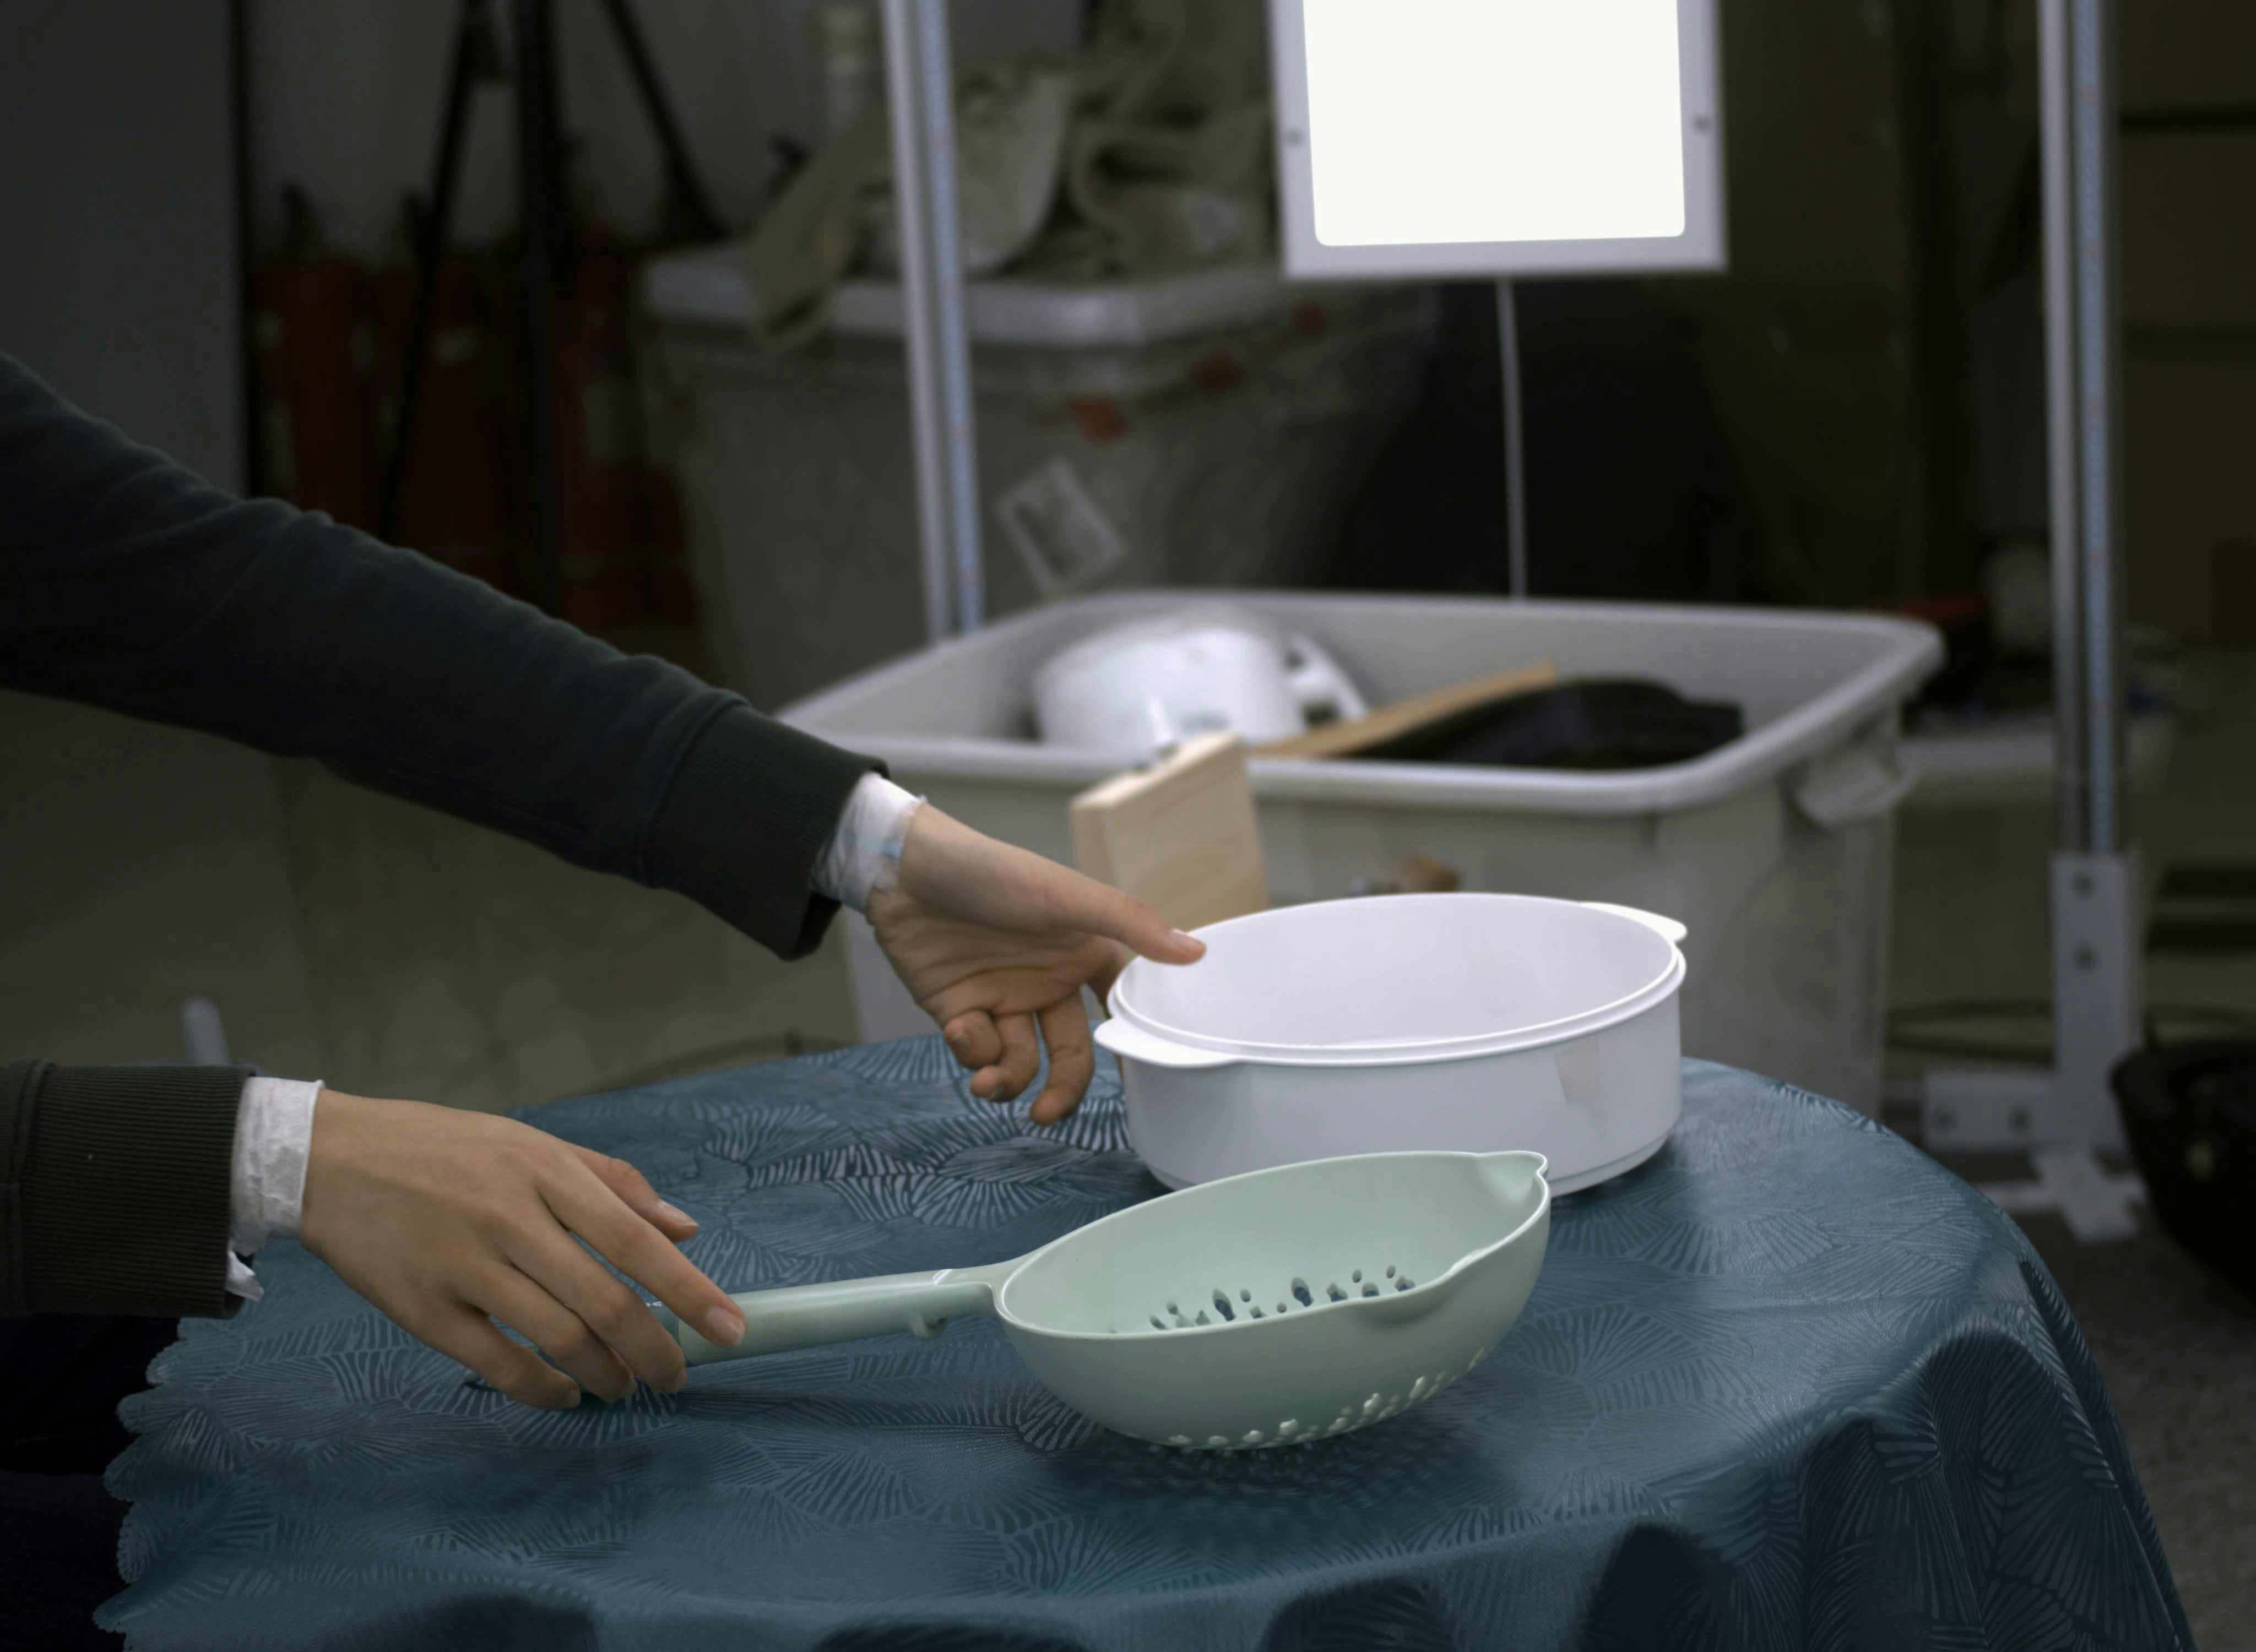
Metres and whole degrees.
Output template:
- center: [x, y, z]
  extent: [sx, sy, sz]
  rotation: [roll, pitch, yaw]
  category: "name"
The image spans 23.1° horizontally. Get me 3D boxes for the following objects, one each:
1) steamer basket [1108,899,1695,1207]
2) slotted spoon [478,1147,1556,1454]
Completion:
- center: [0.099, 0.082, 1.911]
  extent: [0.225, 0.069, 0.206]
  rotation: [-14, 15, -32]
  category: "steamer basket"
- center: [-0.042, 0.148, 1.690]
  extent: [0.364, 0.075, 0.166]
  rotation: [1, 14, 22]
  category: "slotted spoon"
